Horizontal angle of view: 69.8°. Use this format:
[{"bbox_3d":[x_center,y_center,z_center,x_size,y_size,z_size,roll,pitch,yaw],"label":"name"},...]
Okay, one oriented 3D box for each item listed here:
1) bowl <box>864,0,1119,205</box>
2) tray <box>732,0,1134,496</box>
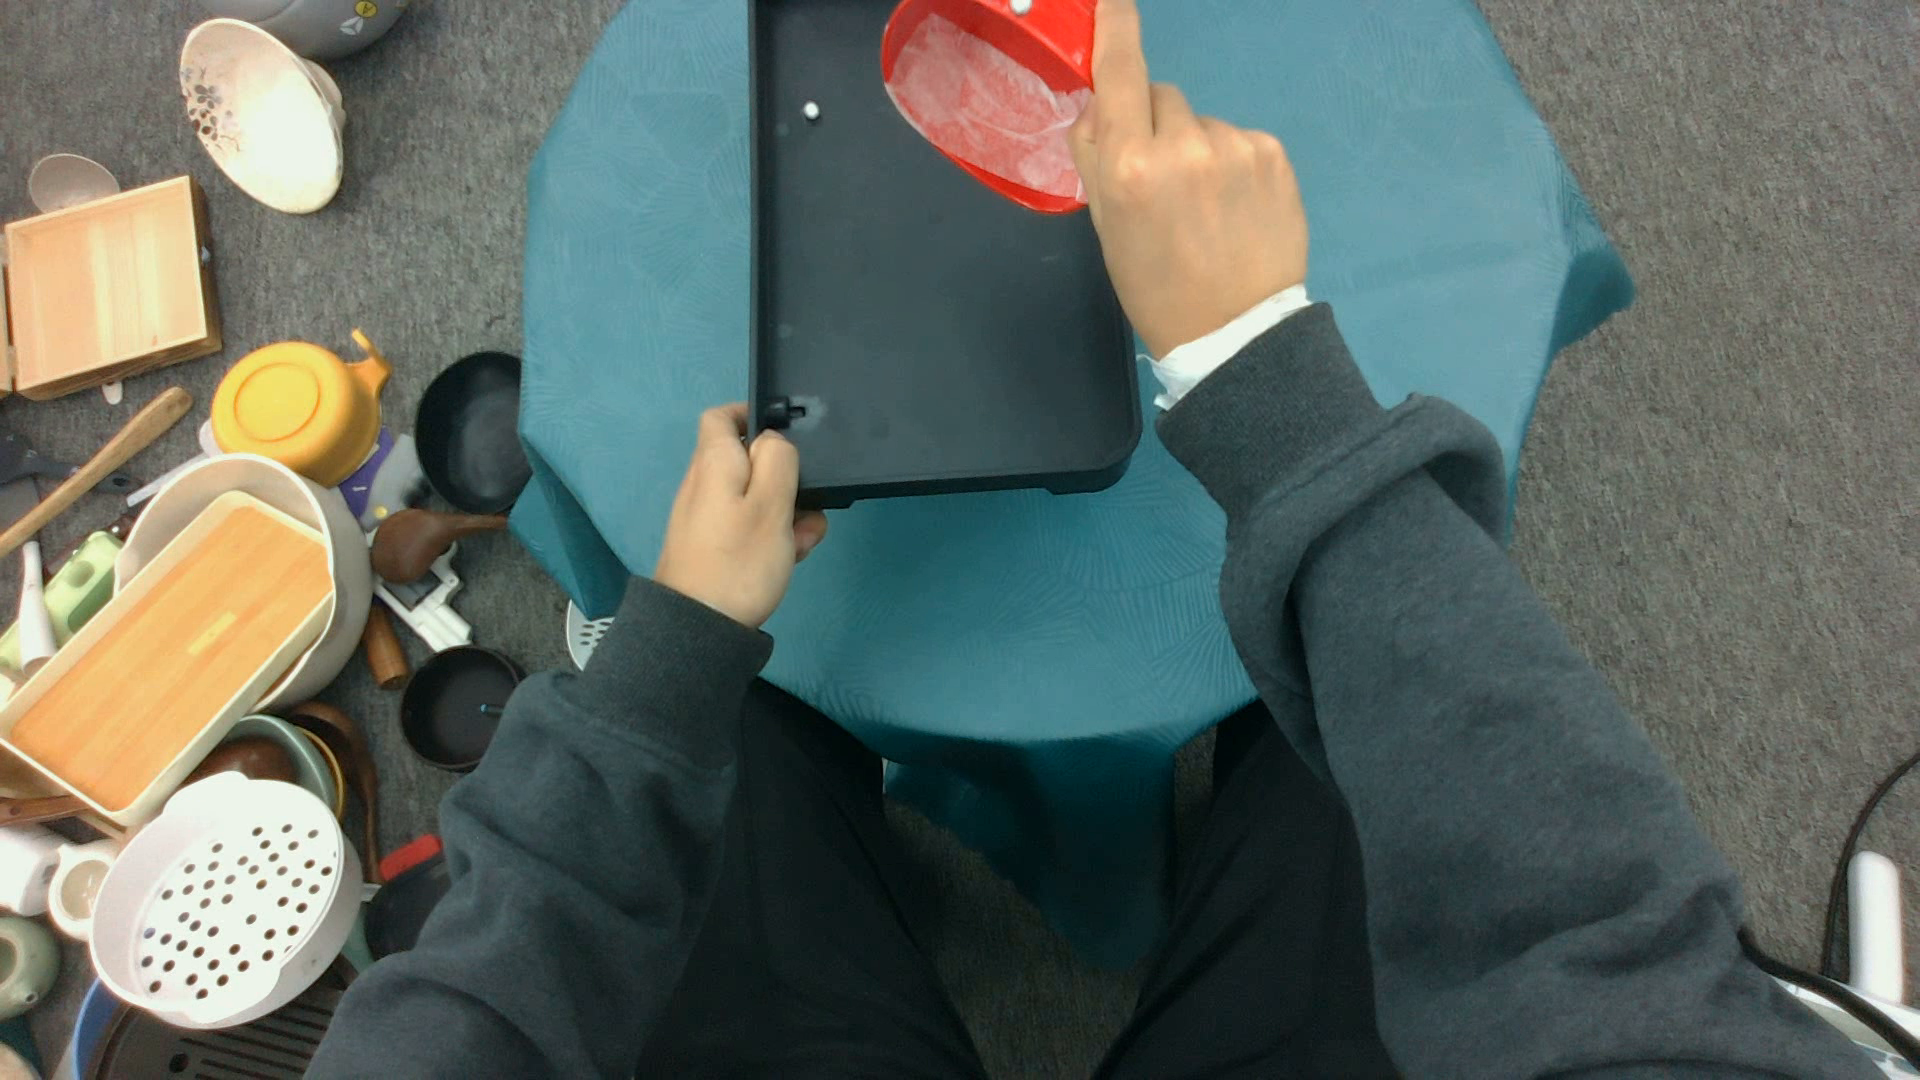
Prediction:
[{"bbox_3d":[0.021,-0.200,0.573,0.119,0.118,0.051,29,70,12],"label":"bowl"},{"bbox_3d":[-0.020,-0.176,0.692,0.184,0.037,0.319,-4,68,0],"label":"tray"}]
